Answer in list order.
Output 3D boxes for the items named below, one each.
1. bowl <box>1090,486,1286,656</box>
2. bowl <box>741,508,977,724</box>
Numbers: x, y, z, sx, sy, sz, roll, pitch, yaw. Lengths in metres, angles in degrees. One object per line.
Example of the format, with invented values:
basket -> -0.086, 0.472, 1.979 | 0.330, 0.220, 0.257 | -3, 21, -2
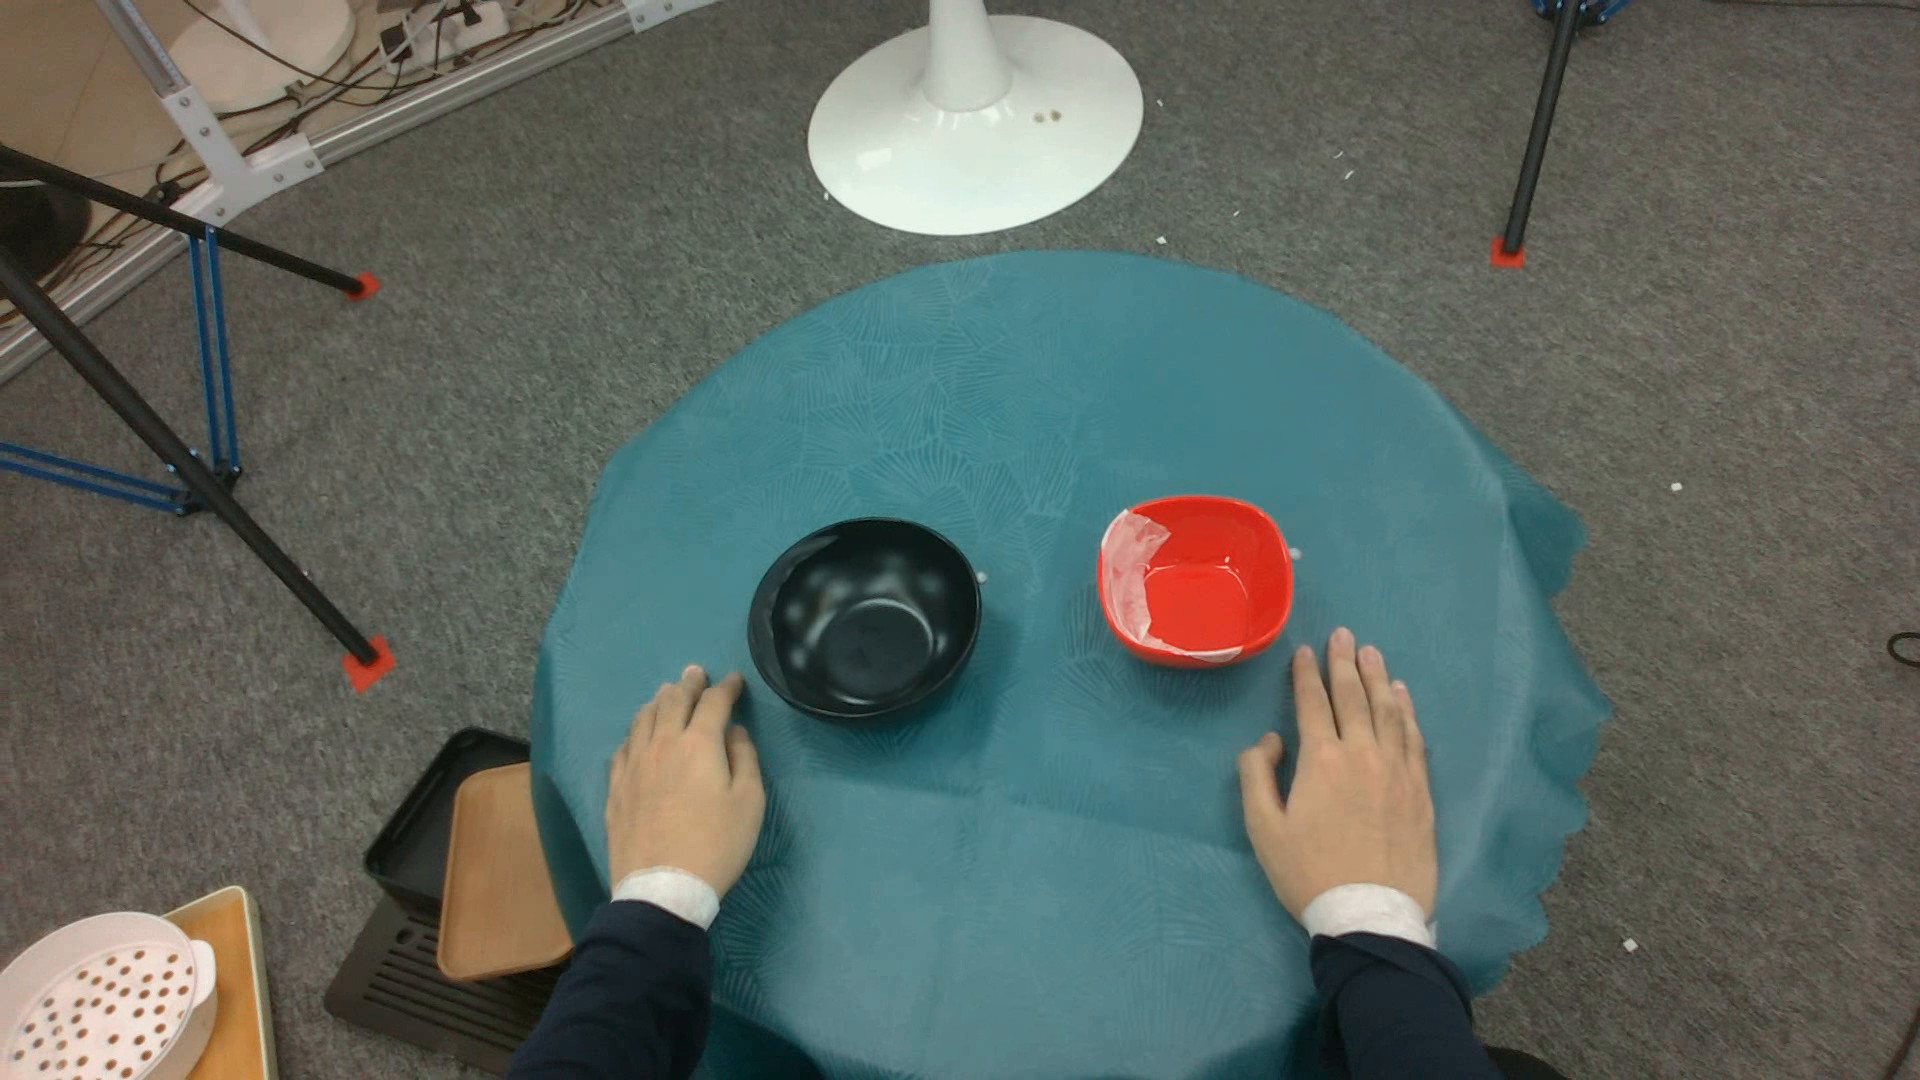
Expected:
bowl -> 0.132, 0.027, 0.802 | 0.119, 0.051, 0.119 | -3, 52, 4
bowl -> -0.056, 0.051, 0.817 | 0.140, 0.049, 0.140 | -4, 58, 6
